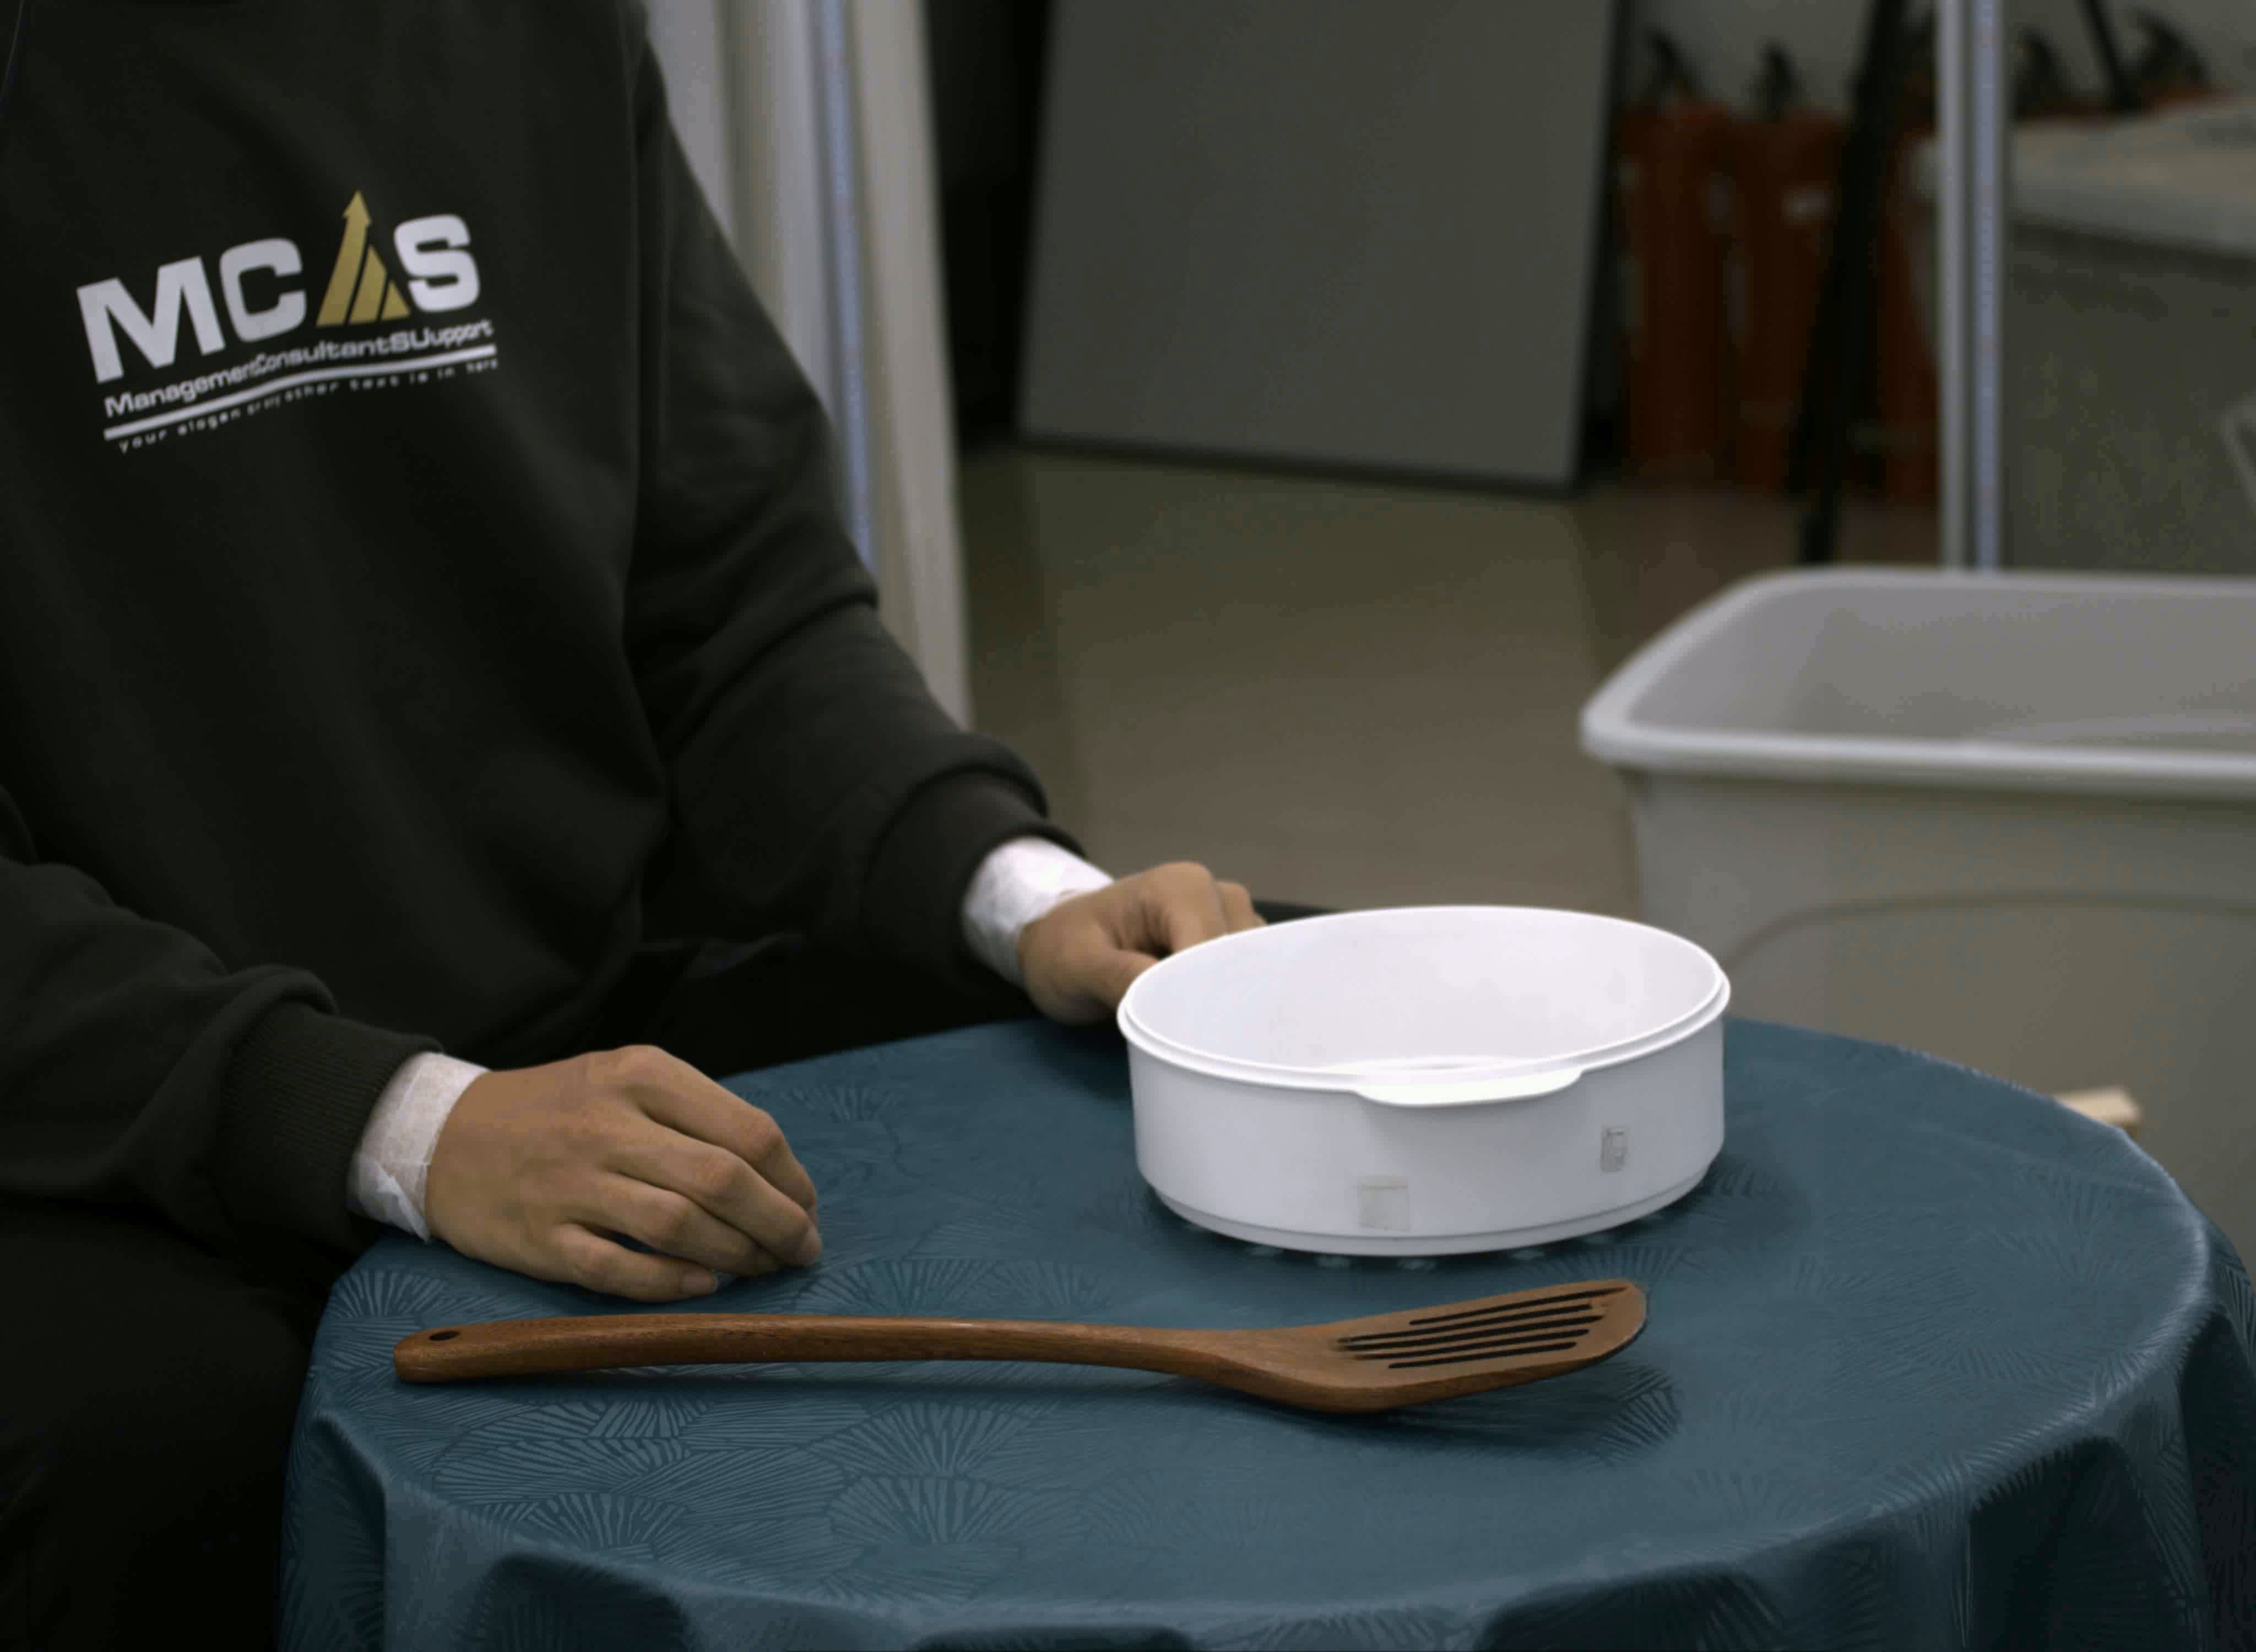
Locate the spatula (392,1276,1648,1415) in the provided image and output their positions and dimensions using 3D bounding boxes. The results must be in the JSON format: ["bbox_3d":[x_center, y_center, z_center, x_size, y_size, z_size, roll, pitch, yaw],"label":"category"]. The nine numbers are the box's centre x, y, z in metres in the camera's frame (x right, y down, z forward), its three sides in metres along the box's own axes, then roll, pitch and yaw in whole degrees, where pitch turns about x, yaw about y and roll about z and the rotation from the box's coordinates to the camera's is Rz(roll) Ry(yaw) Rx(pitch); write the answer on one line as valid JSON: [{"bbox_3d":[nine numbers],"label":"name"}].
[{"bbox_3d":[-0.037,0.157,1.595,0.383,0.024,0.085,-2,11,14],"label":"spatula"}]

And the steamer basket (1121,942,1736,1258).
[{"bbox_3d":[0.098,0.089,1.752,0.199,0.070,0.231,-3,10,-4],"label":"steamer basket"}]
